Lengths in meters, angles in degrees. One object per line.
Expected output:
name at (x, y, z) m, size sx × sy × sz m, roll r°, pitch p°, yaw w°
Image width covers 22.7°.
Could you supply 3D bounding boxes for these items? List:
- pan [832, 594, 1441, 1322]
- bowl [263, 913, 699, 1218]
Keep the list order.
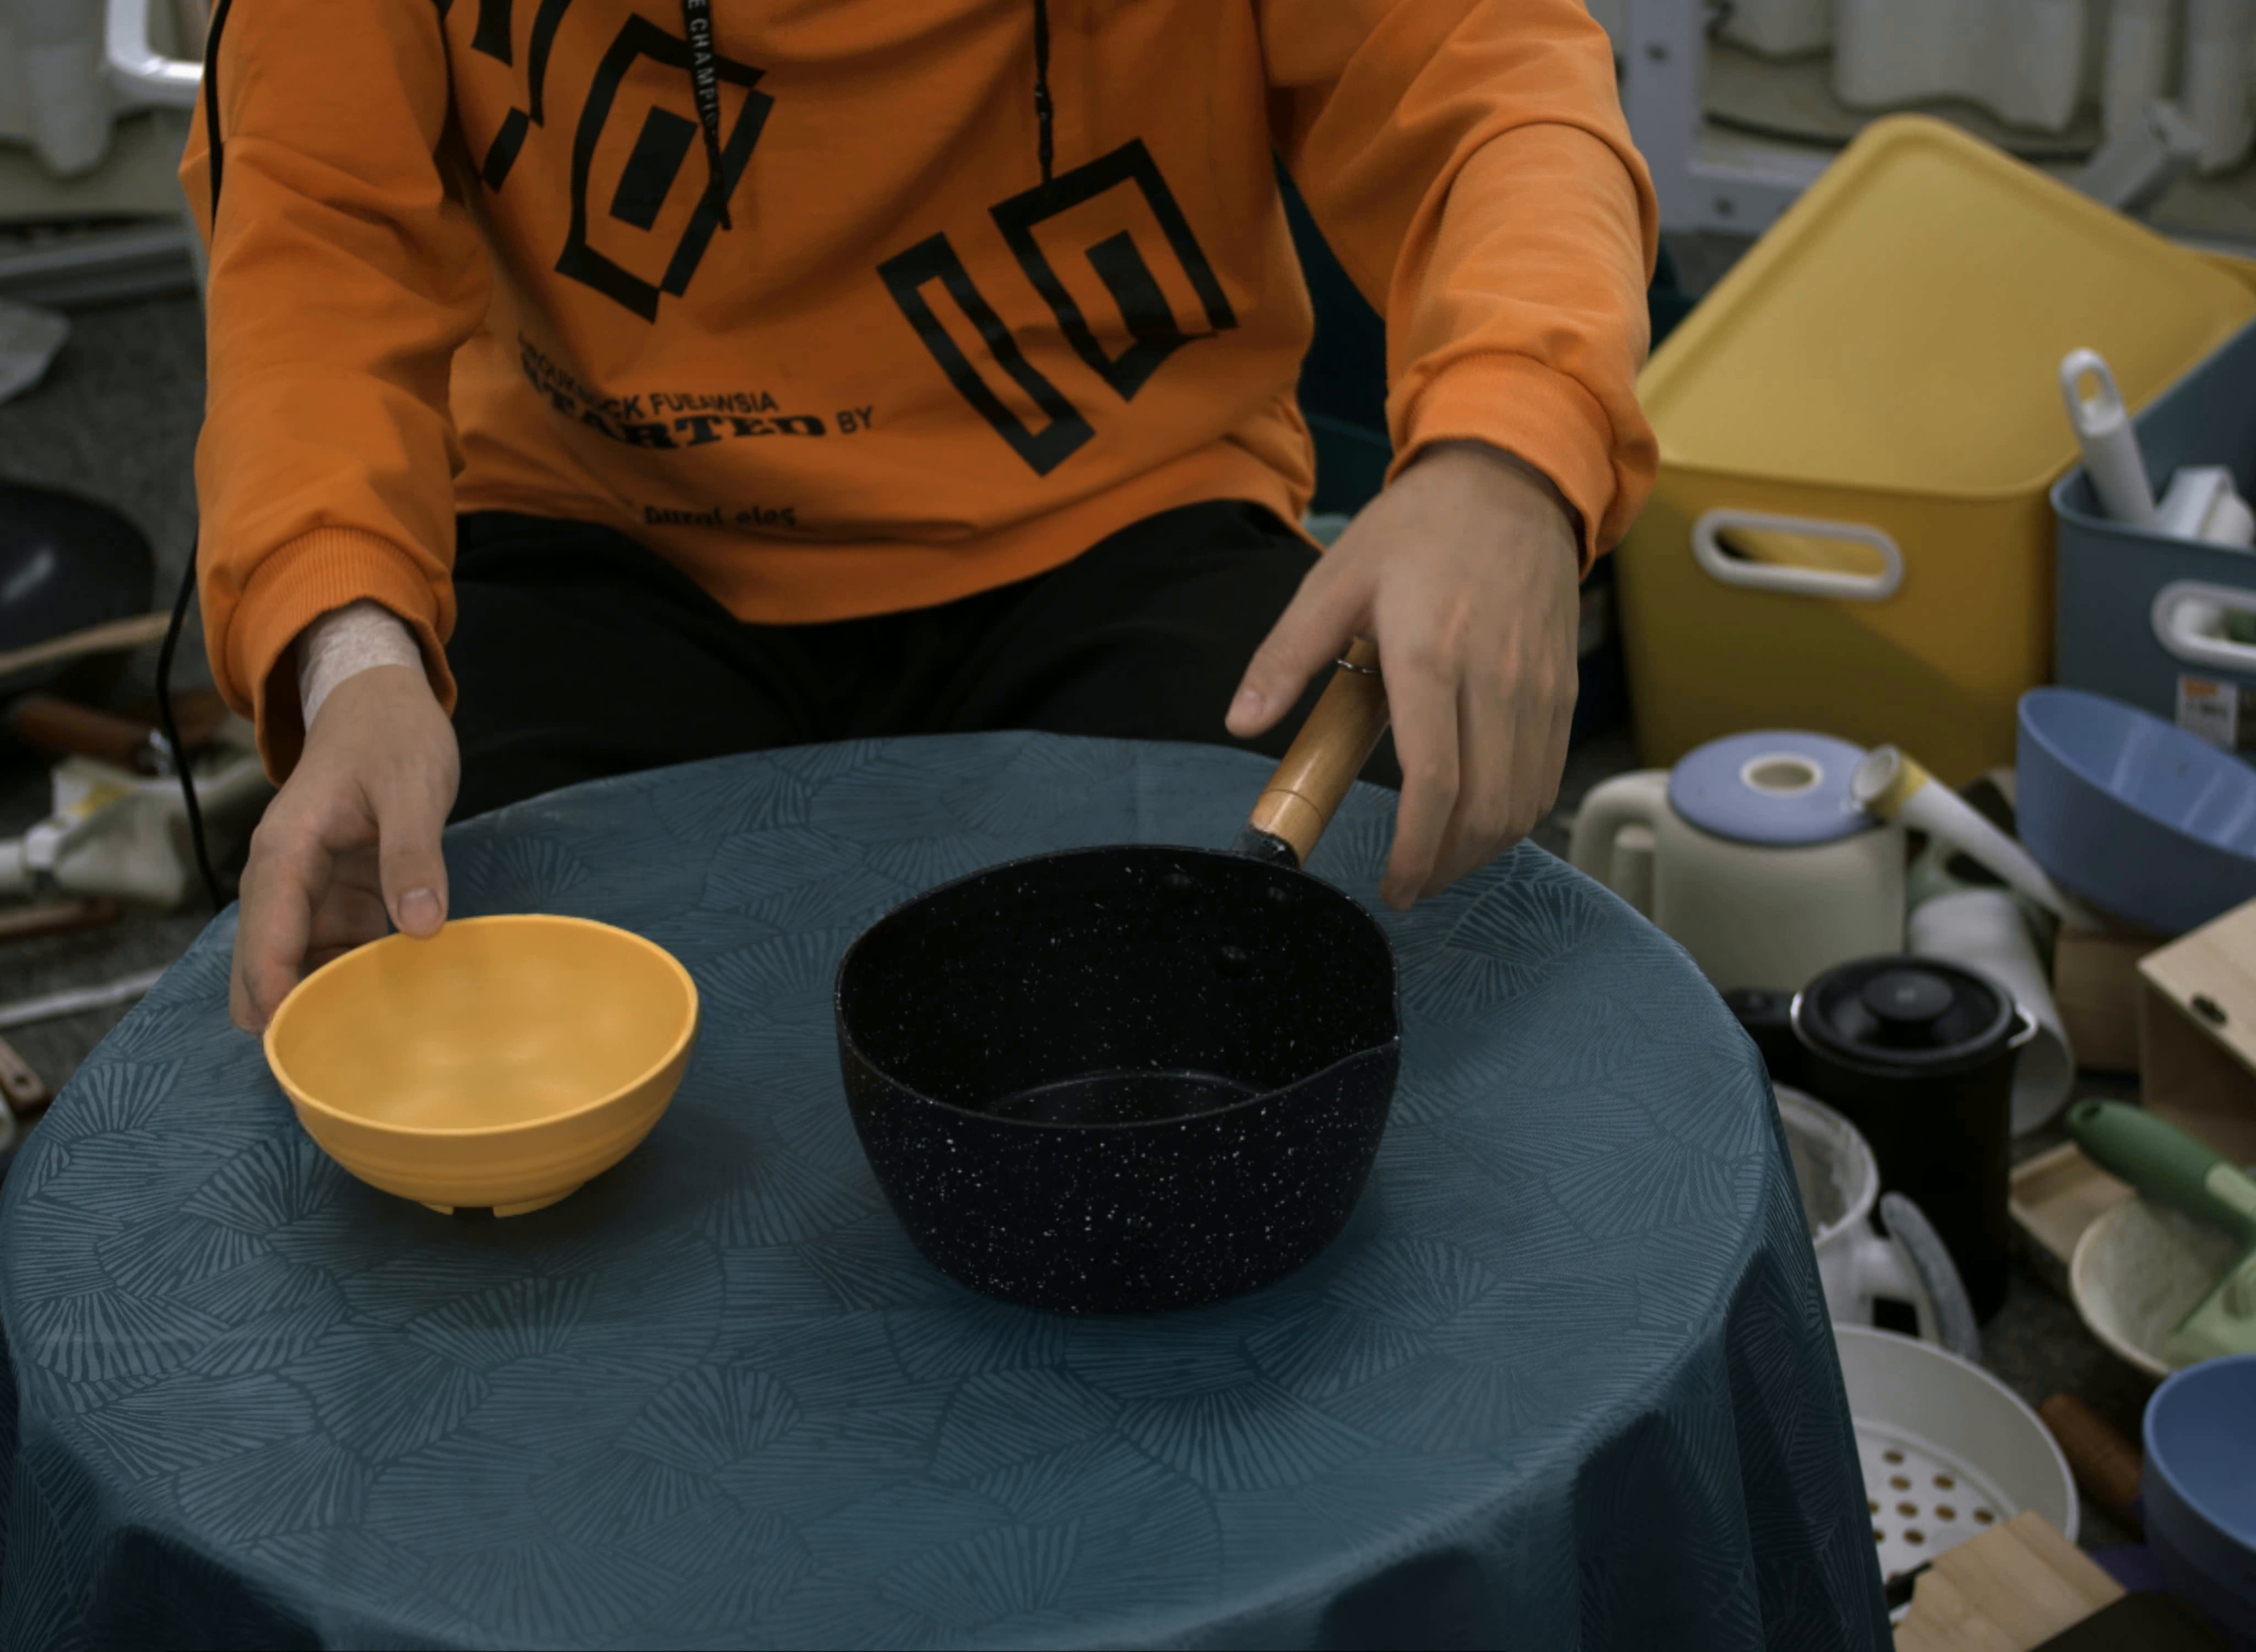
pan at (0.030, 0.041, 1.900) m, size 0.206 × 0.107 × 0.349 m, roll 8°, pitch 31°, yaw 23°
bowl at (-0.215, 0.090, 1.882) m, size 0.144 × 0.059 × 0.147 m, roll -1°, pitch 28°, yaw 1°
